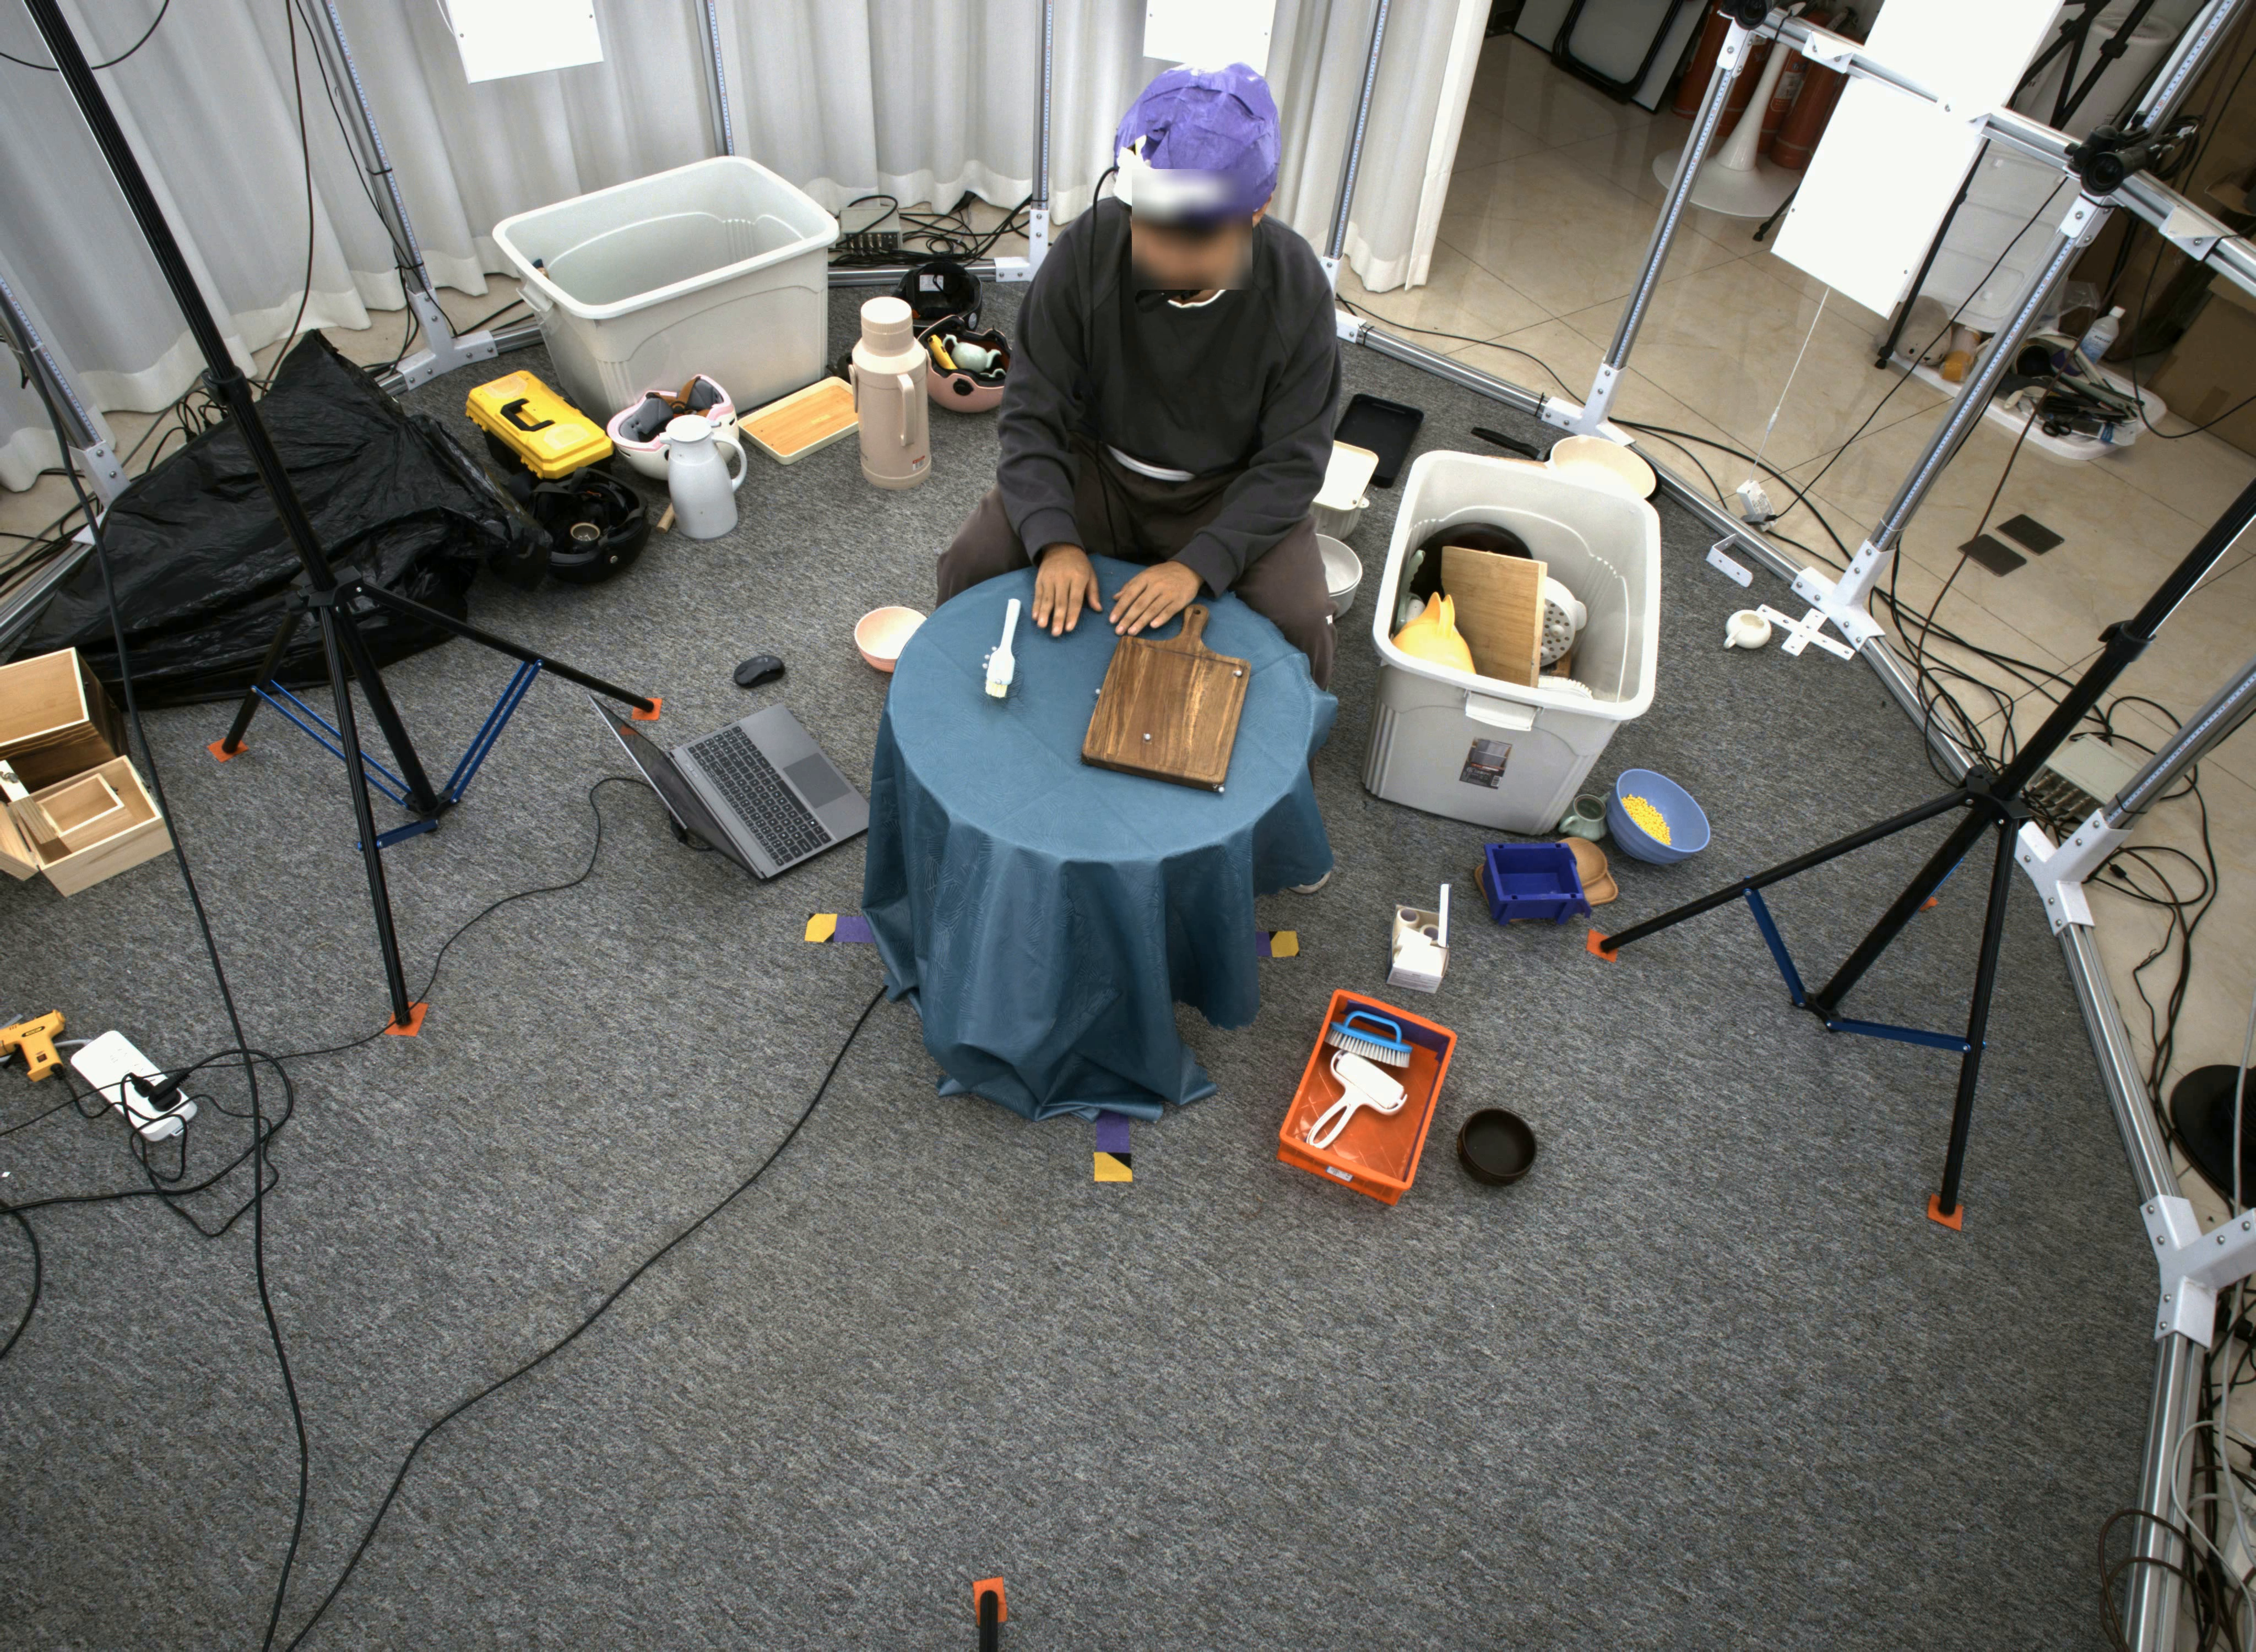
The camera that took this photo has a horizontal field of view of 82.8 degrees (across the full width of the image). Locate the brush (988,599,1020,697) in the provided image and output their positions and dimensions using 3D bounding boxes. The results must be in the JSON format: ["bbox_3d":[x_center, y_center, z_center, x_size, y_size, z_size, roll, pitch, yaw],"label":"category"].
[{"bbox_3d":[-0.177,-0.261,1.858,0.037,0.048,0.234,13,40,-10],"label":"brush"}]

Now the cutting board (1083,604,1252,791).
[{"bbox_3d":[0.071,-0.200,1.830,0.201,0.022,0.360,12,49,6],"label":"cutting board"}]
